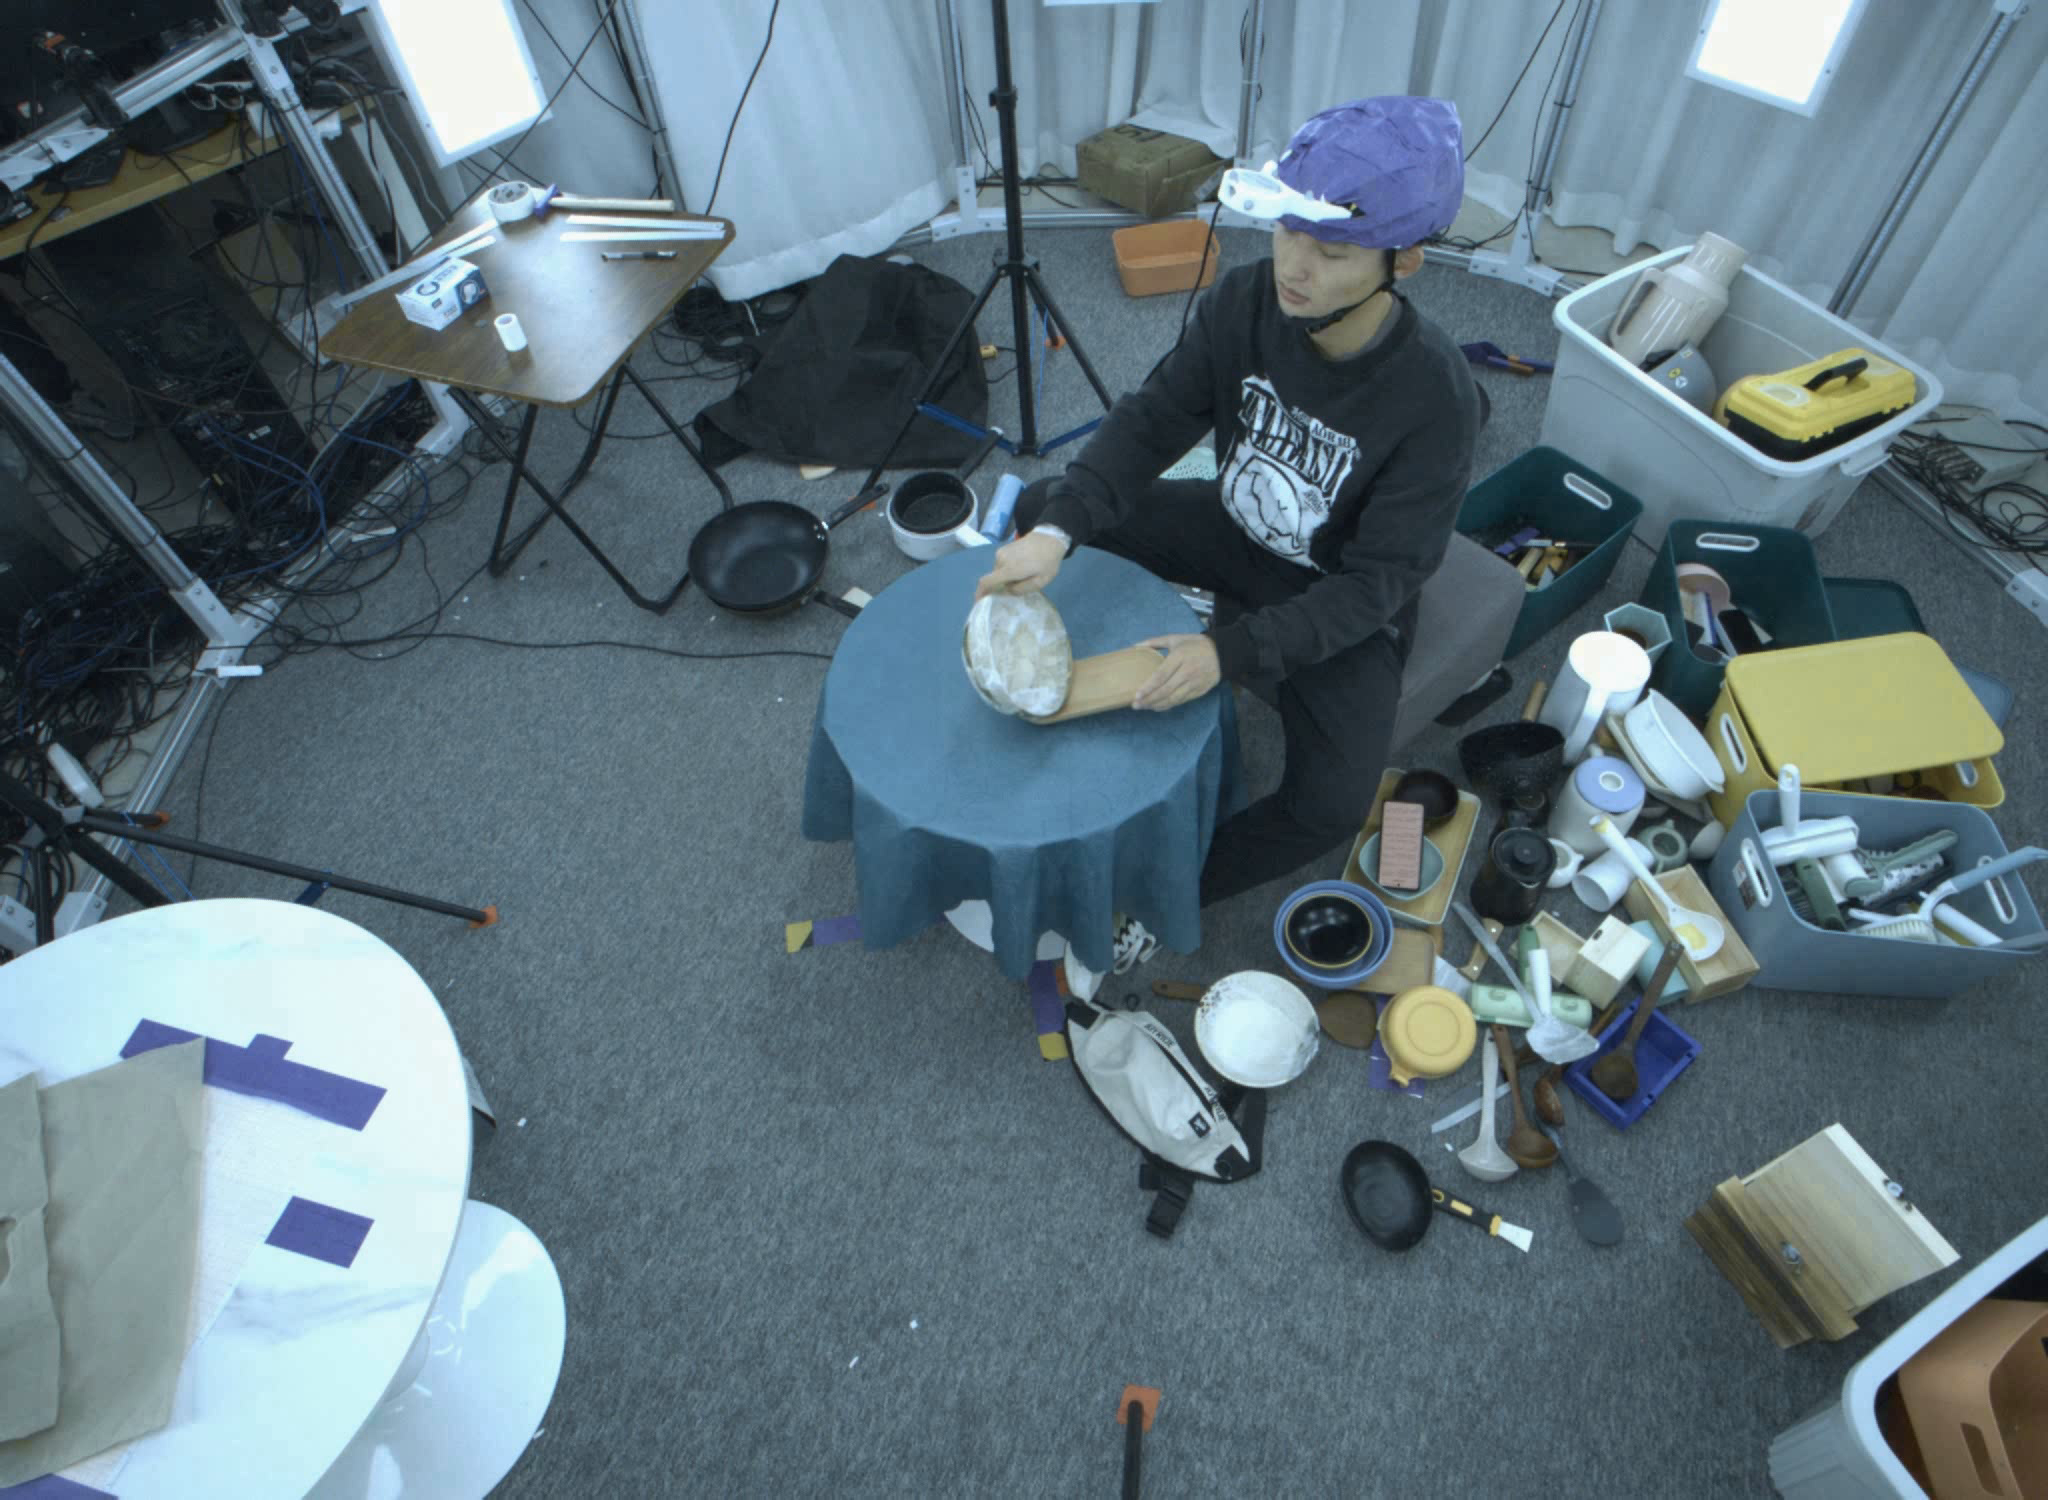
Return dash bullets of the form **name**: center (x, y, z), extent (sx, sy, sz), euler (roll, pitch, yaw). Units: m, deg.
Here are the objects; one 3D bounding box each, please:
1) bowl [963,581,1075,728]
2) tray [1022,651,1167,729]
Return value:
- **bowl**: center (-0.021, -0.130, 1.773), extent (0.093, 0.219, 0.213), euler (-11, 49, 34)
- **tray**: center (0.098, -0.087, 1.812), extent (0.229, 0.021, 0.100), euler (-14, 49, 13)
